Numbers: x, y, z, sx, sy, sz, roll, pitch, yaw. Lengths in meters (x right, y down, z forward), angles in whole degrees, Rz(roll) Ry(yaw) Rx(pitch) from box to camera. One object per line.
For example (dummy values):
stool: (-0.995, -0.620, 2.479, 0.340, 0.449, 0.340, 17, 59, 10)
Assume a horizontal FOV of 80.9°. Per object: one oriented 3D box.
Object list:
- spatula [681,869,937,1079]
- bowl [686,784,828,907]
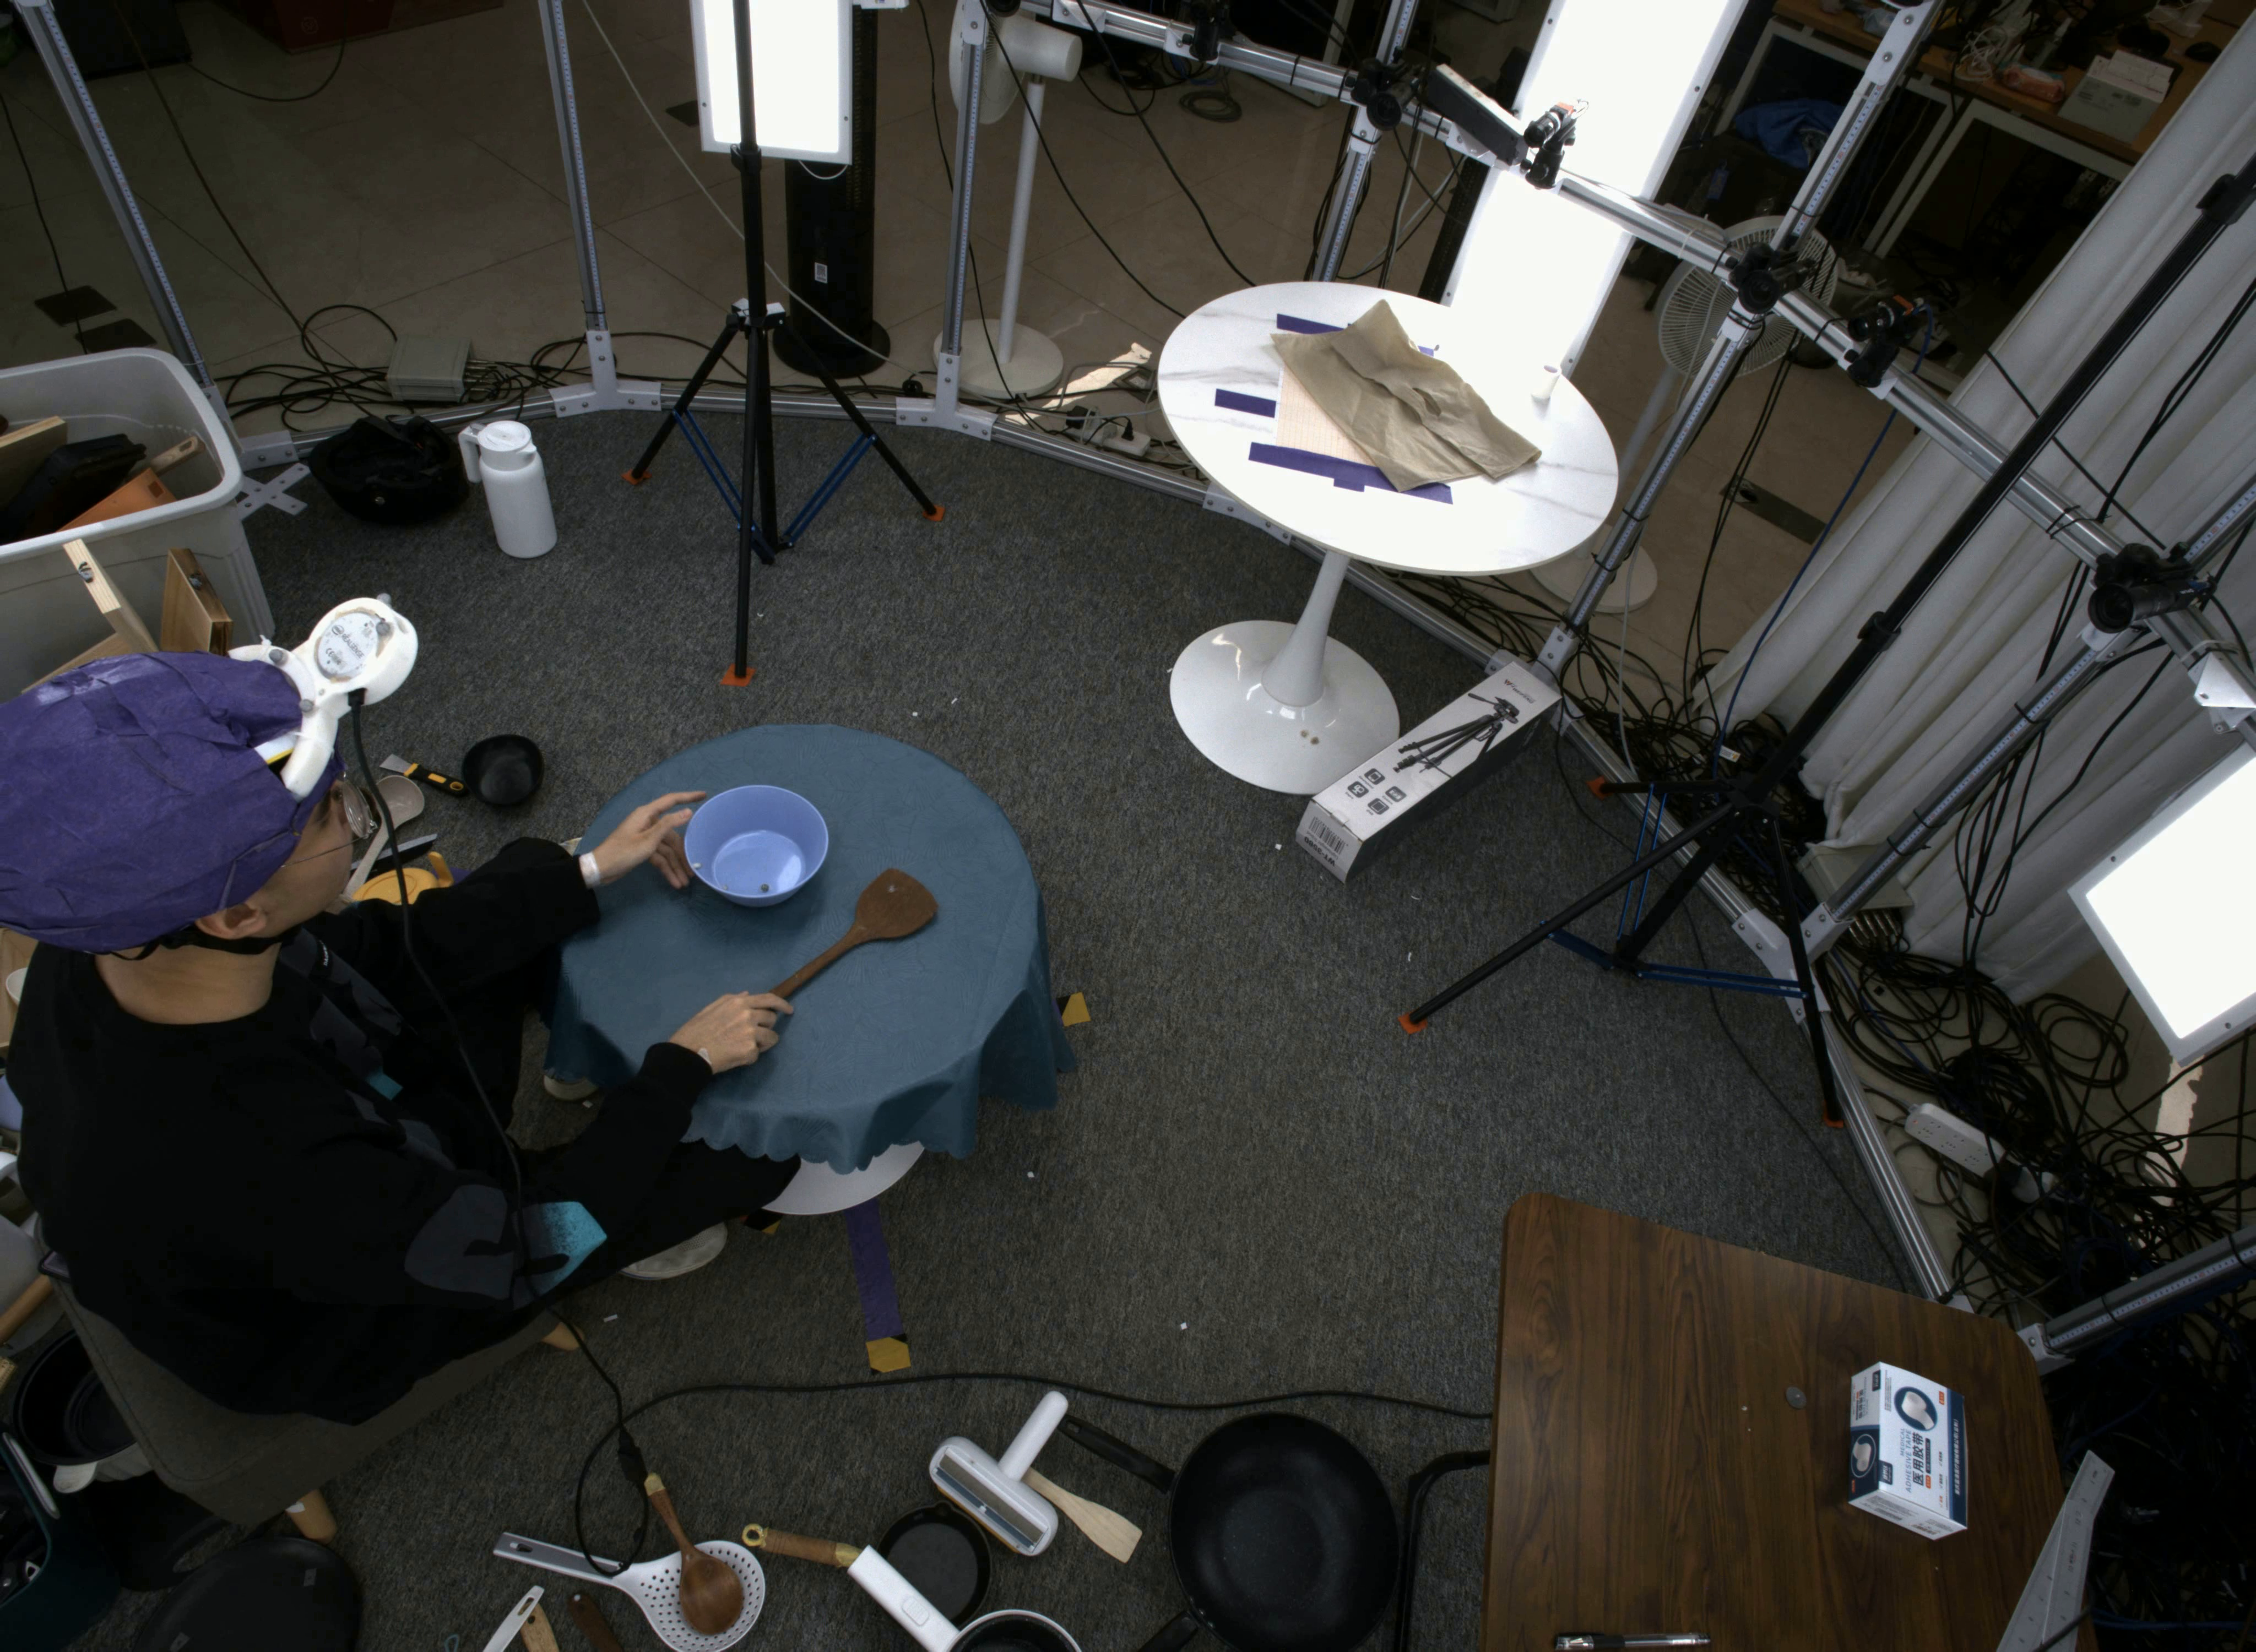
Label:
spatula: (-0.393, 0.179, 1.594, 0.094, 0.016, 0.386, 39, 54, 16)
bowl: (-0.469, 0.035, 1.647, 0.175, 0.072, 0.173, 7, 53, -8)
